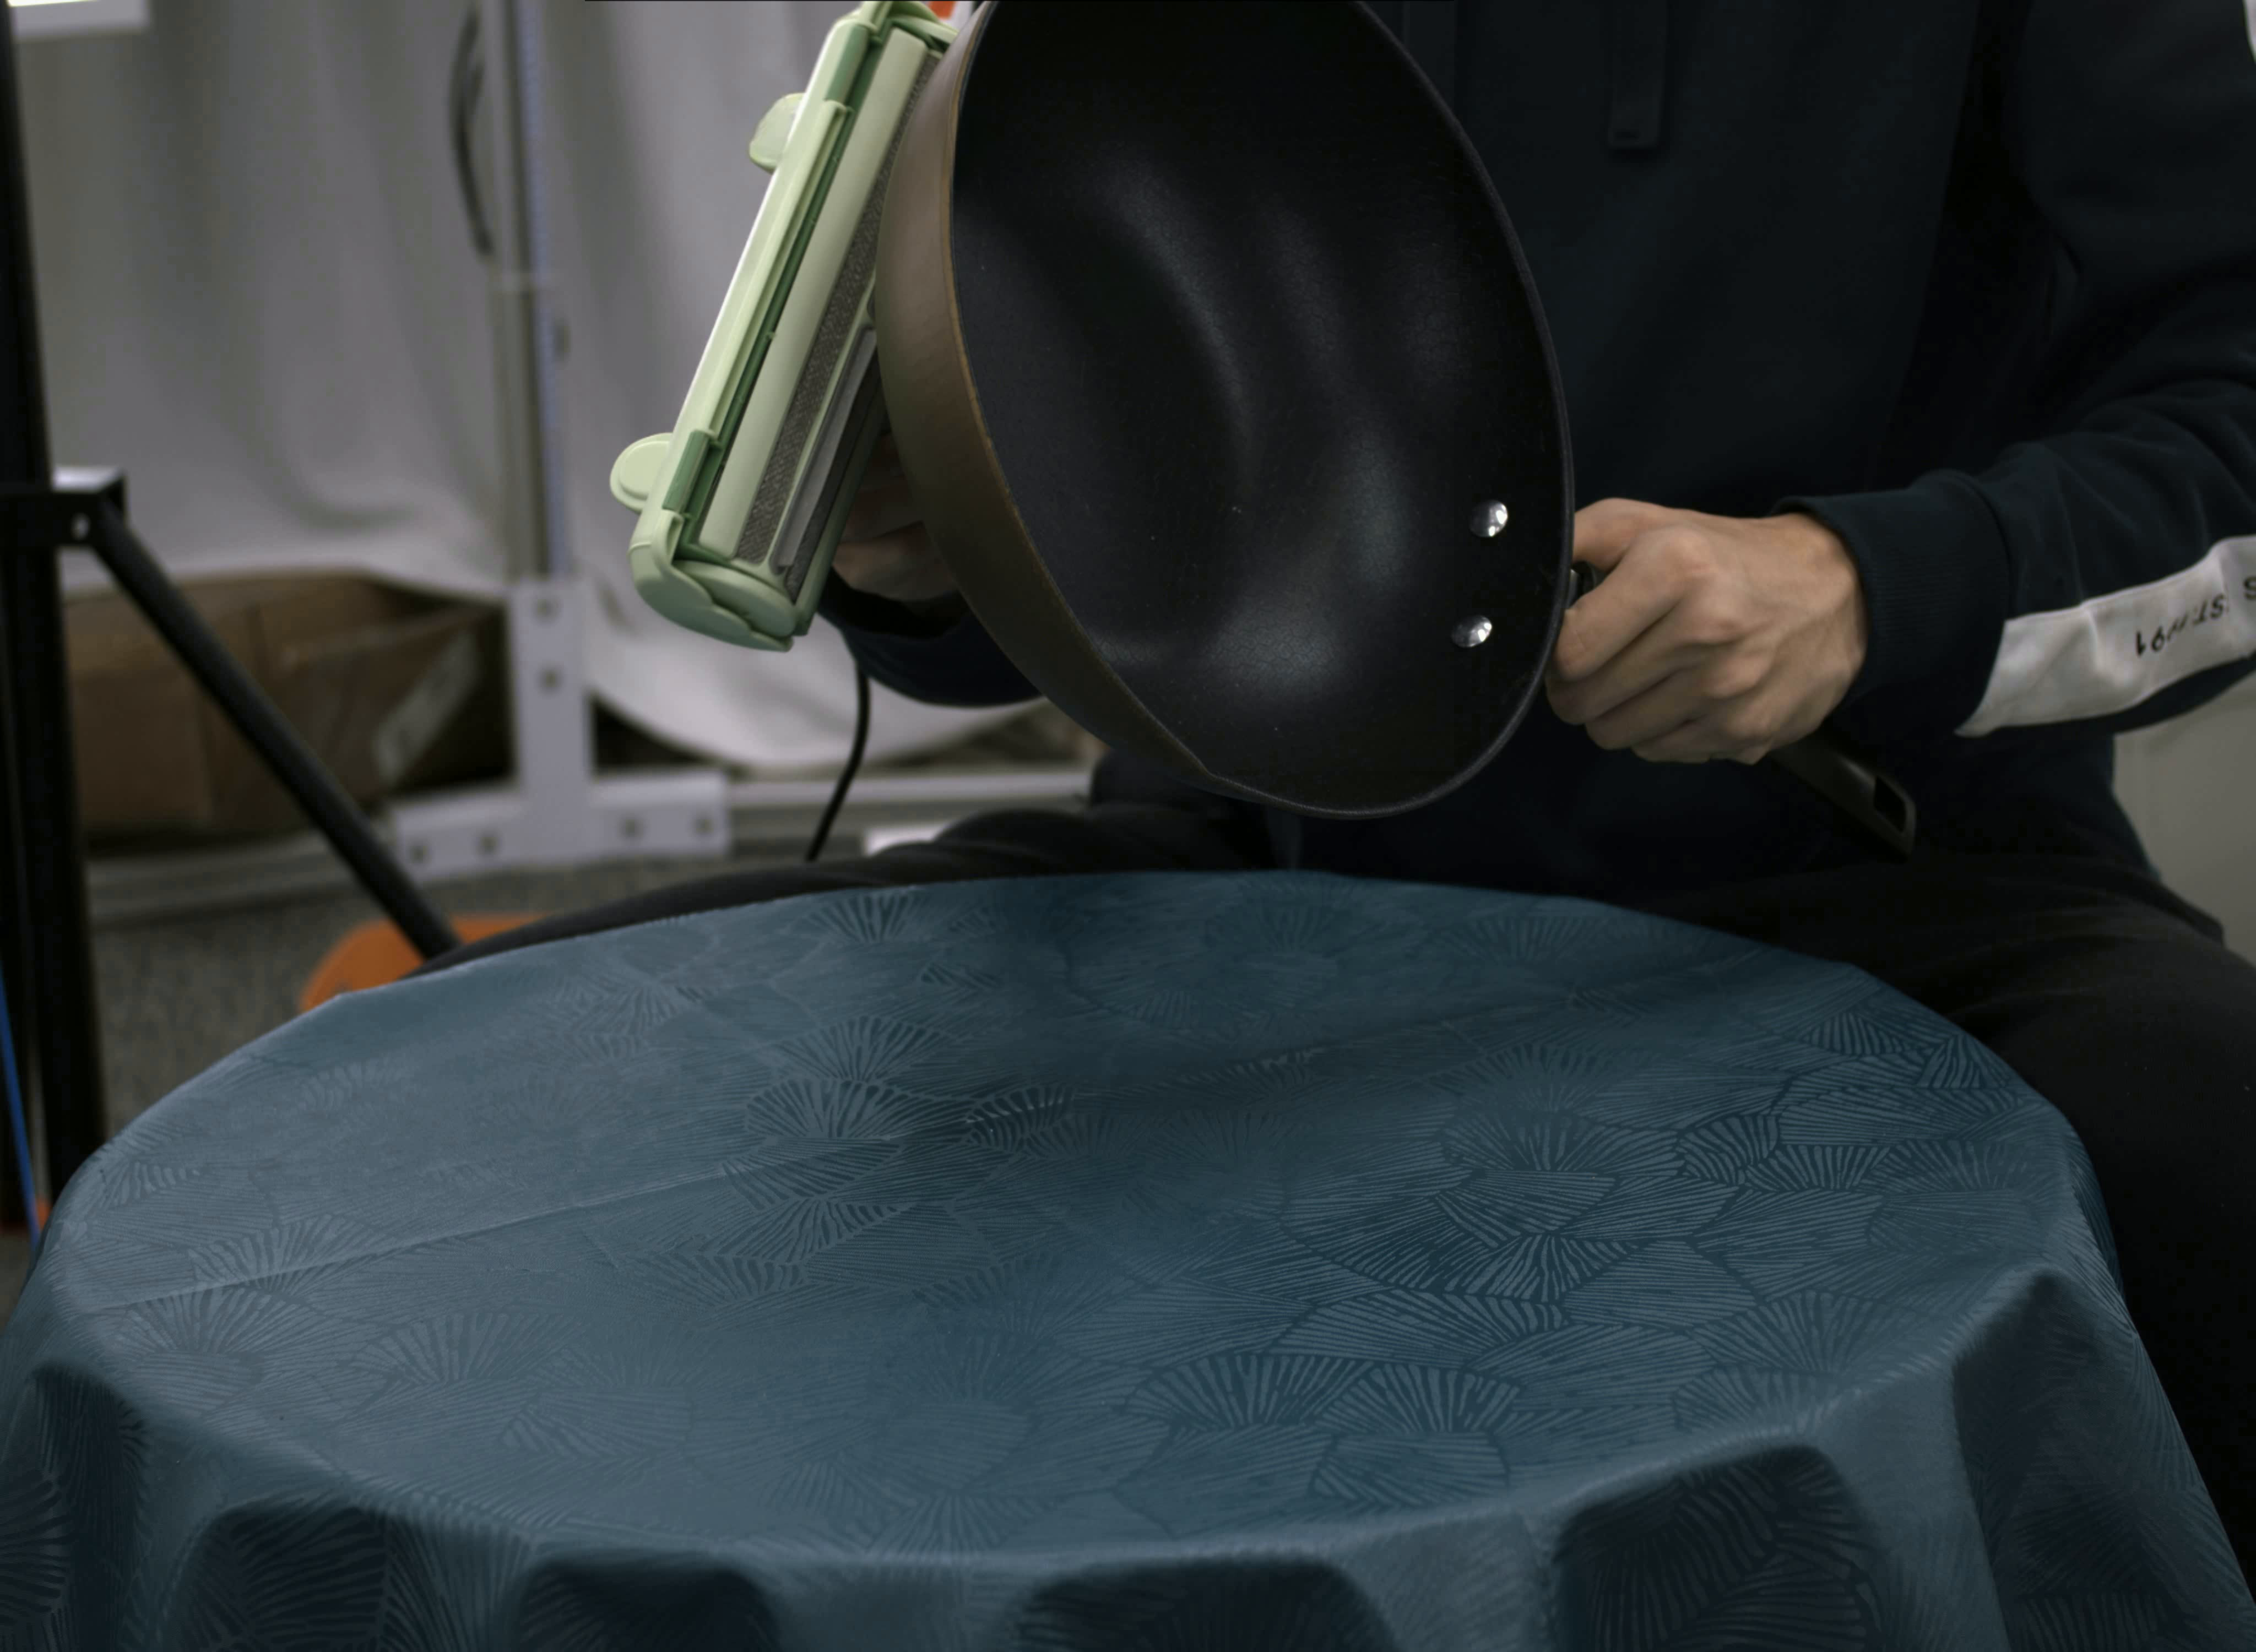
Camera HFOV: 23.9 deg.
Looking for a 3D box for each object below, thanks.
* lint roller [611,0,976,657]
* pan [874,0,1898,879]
[{"bbox_3d":[-0.094,-0.134,1.640,0.082,0.199,0.181,17,-16,10],"label":"lint roller"},{"bbox_3d":[0.076,-0.092,1.629,0.088,0.290,0.452,-18,-39,40],"label":"pan"}]
